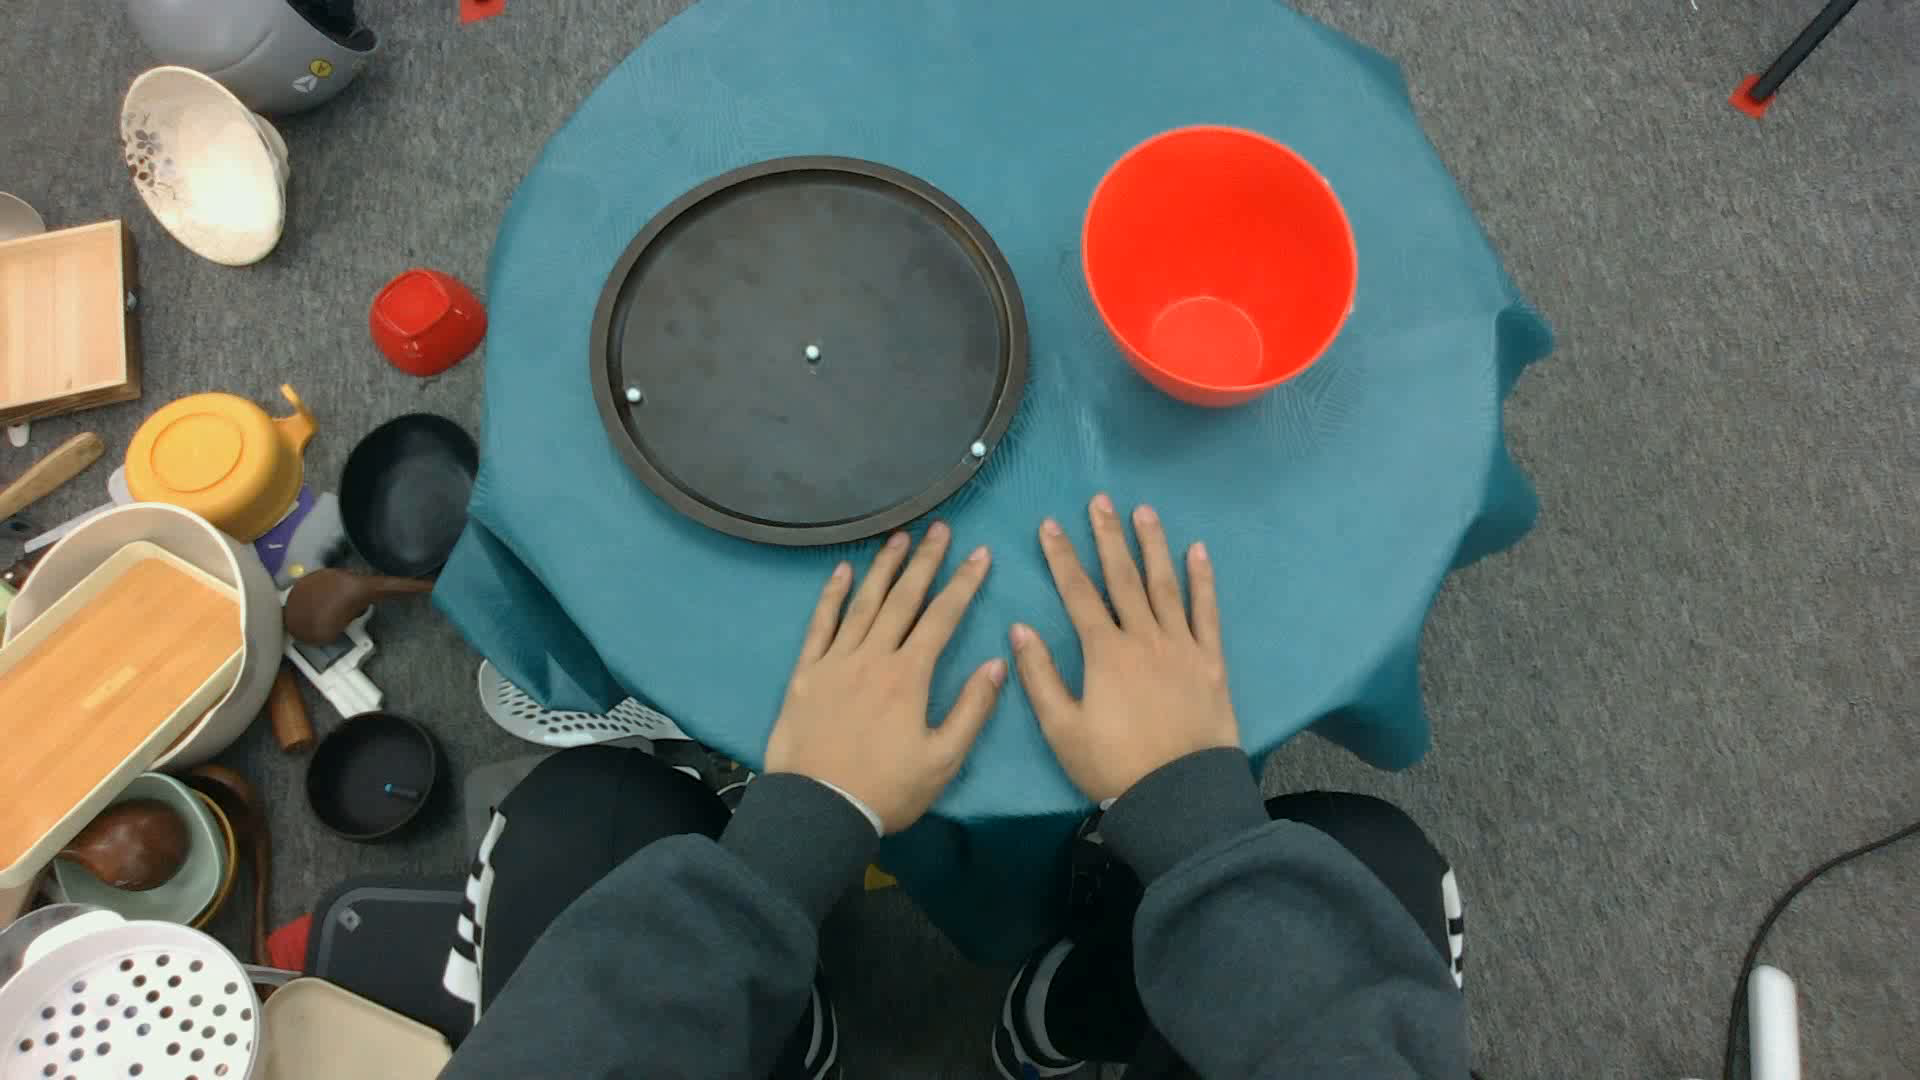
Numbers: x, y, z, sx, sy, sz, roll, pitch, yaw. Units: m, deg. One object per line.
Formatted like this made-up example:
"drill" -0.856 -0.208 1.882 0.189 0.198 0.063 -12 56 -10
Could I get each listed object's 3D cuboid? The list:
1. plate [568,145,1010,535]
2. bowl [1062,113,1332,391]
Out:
"plate" -0.098 -0.119 0.797 0.255 0.029 0.255 1 70 -2
"bowl" 0.126 -0.147 0.771 0.148 0.104 0.148 1 69 -2
